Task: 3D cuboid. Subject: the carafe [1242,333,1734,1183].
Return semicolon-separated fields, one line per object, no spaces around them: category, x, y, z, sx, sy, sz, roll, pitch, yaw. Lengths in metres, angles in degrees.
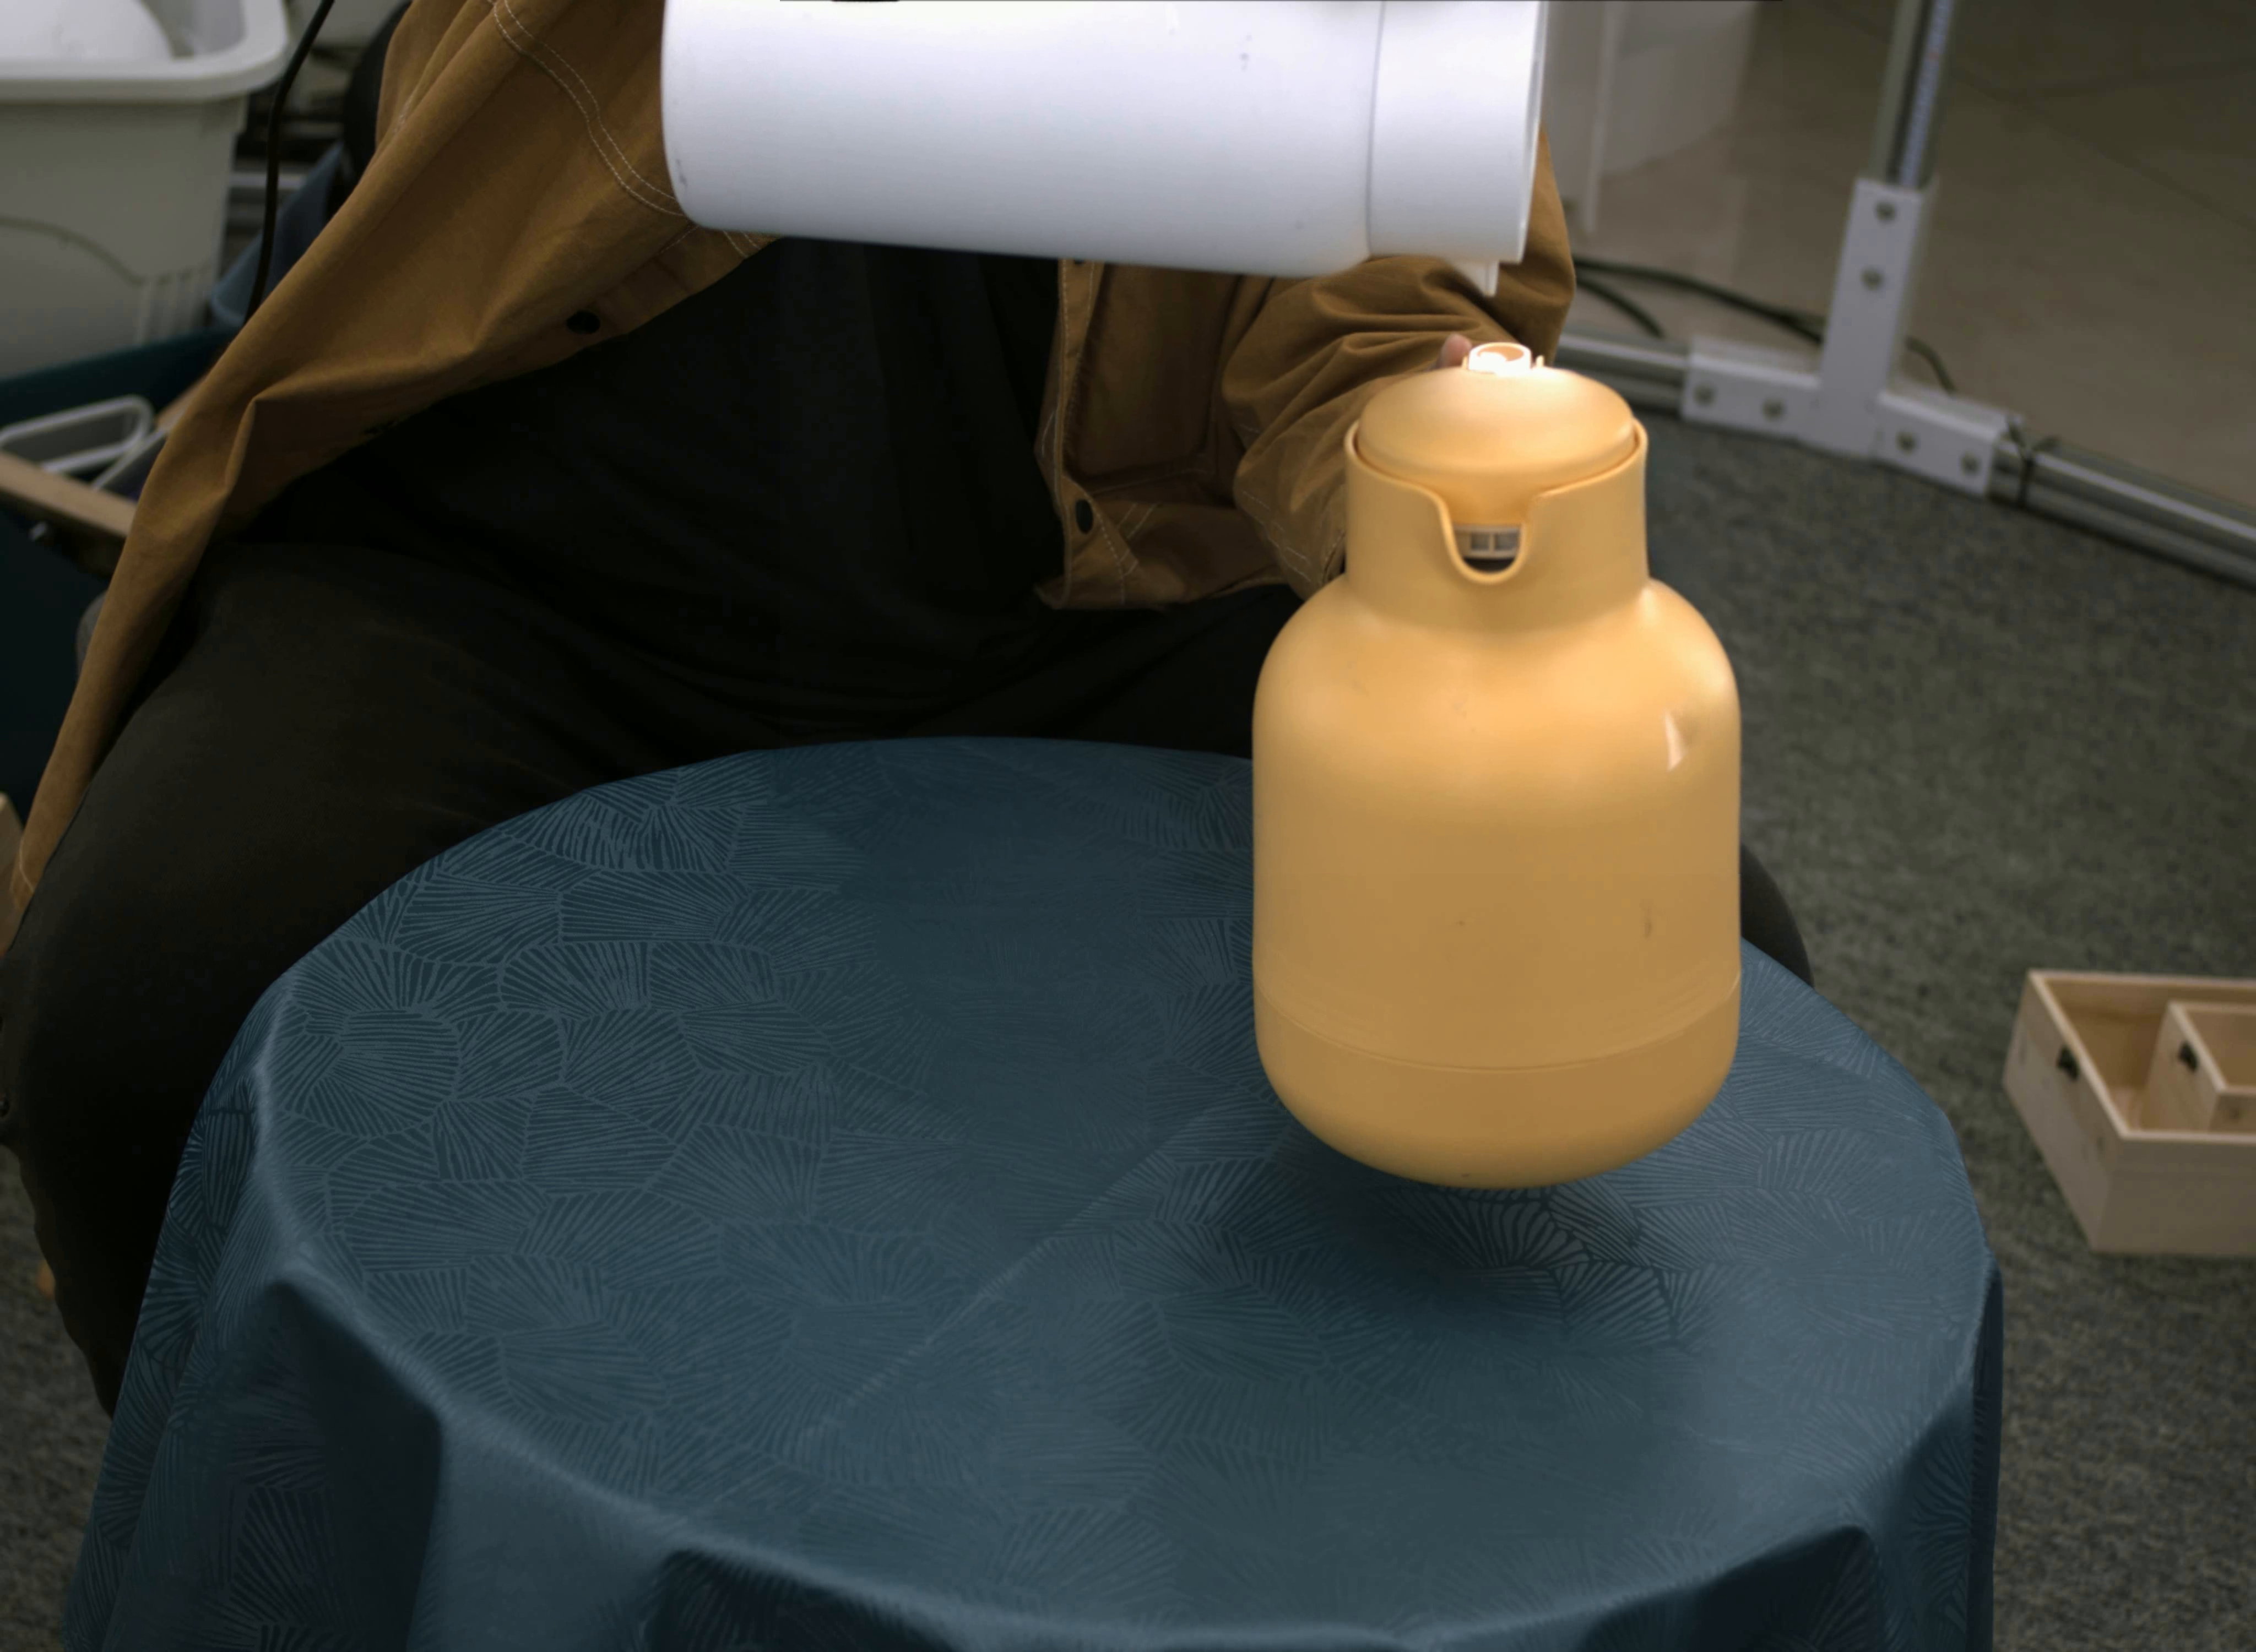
carafe;0.123;-0.031;1.765;0.163;0.259;0.203;4;27;7

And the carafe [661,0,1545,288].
carafe;-0.006;-0.248;1.643;0.269;0.172;0.124;6;39;8
